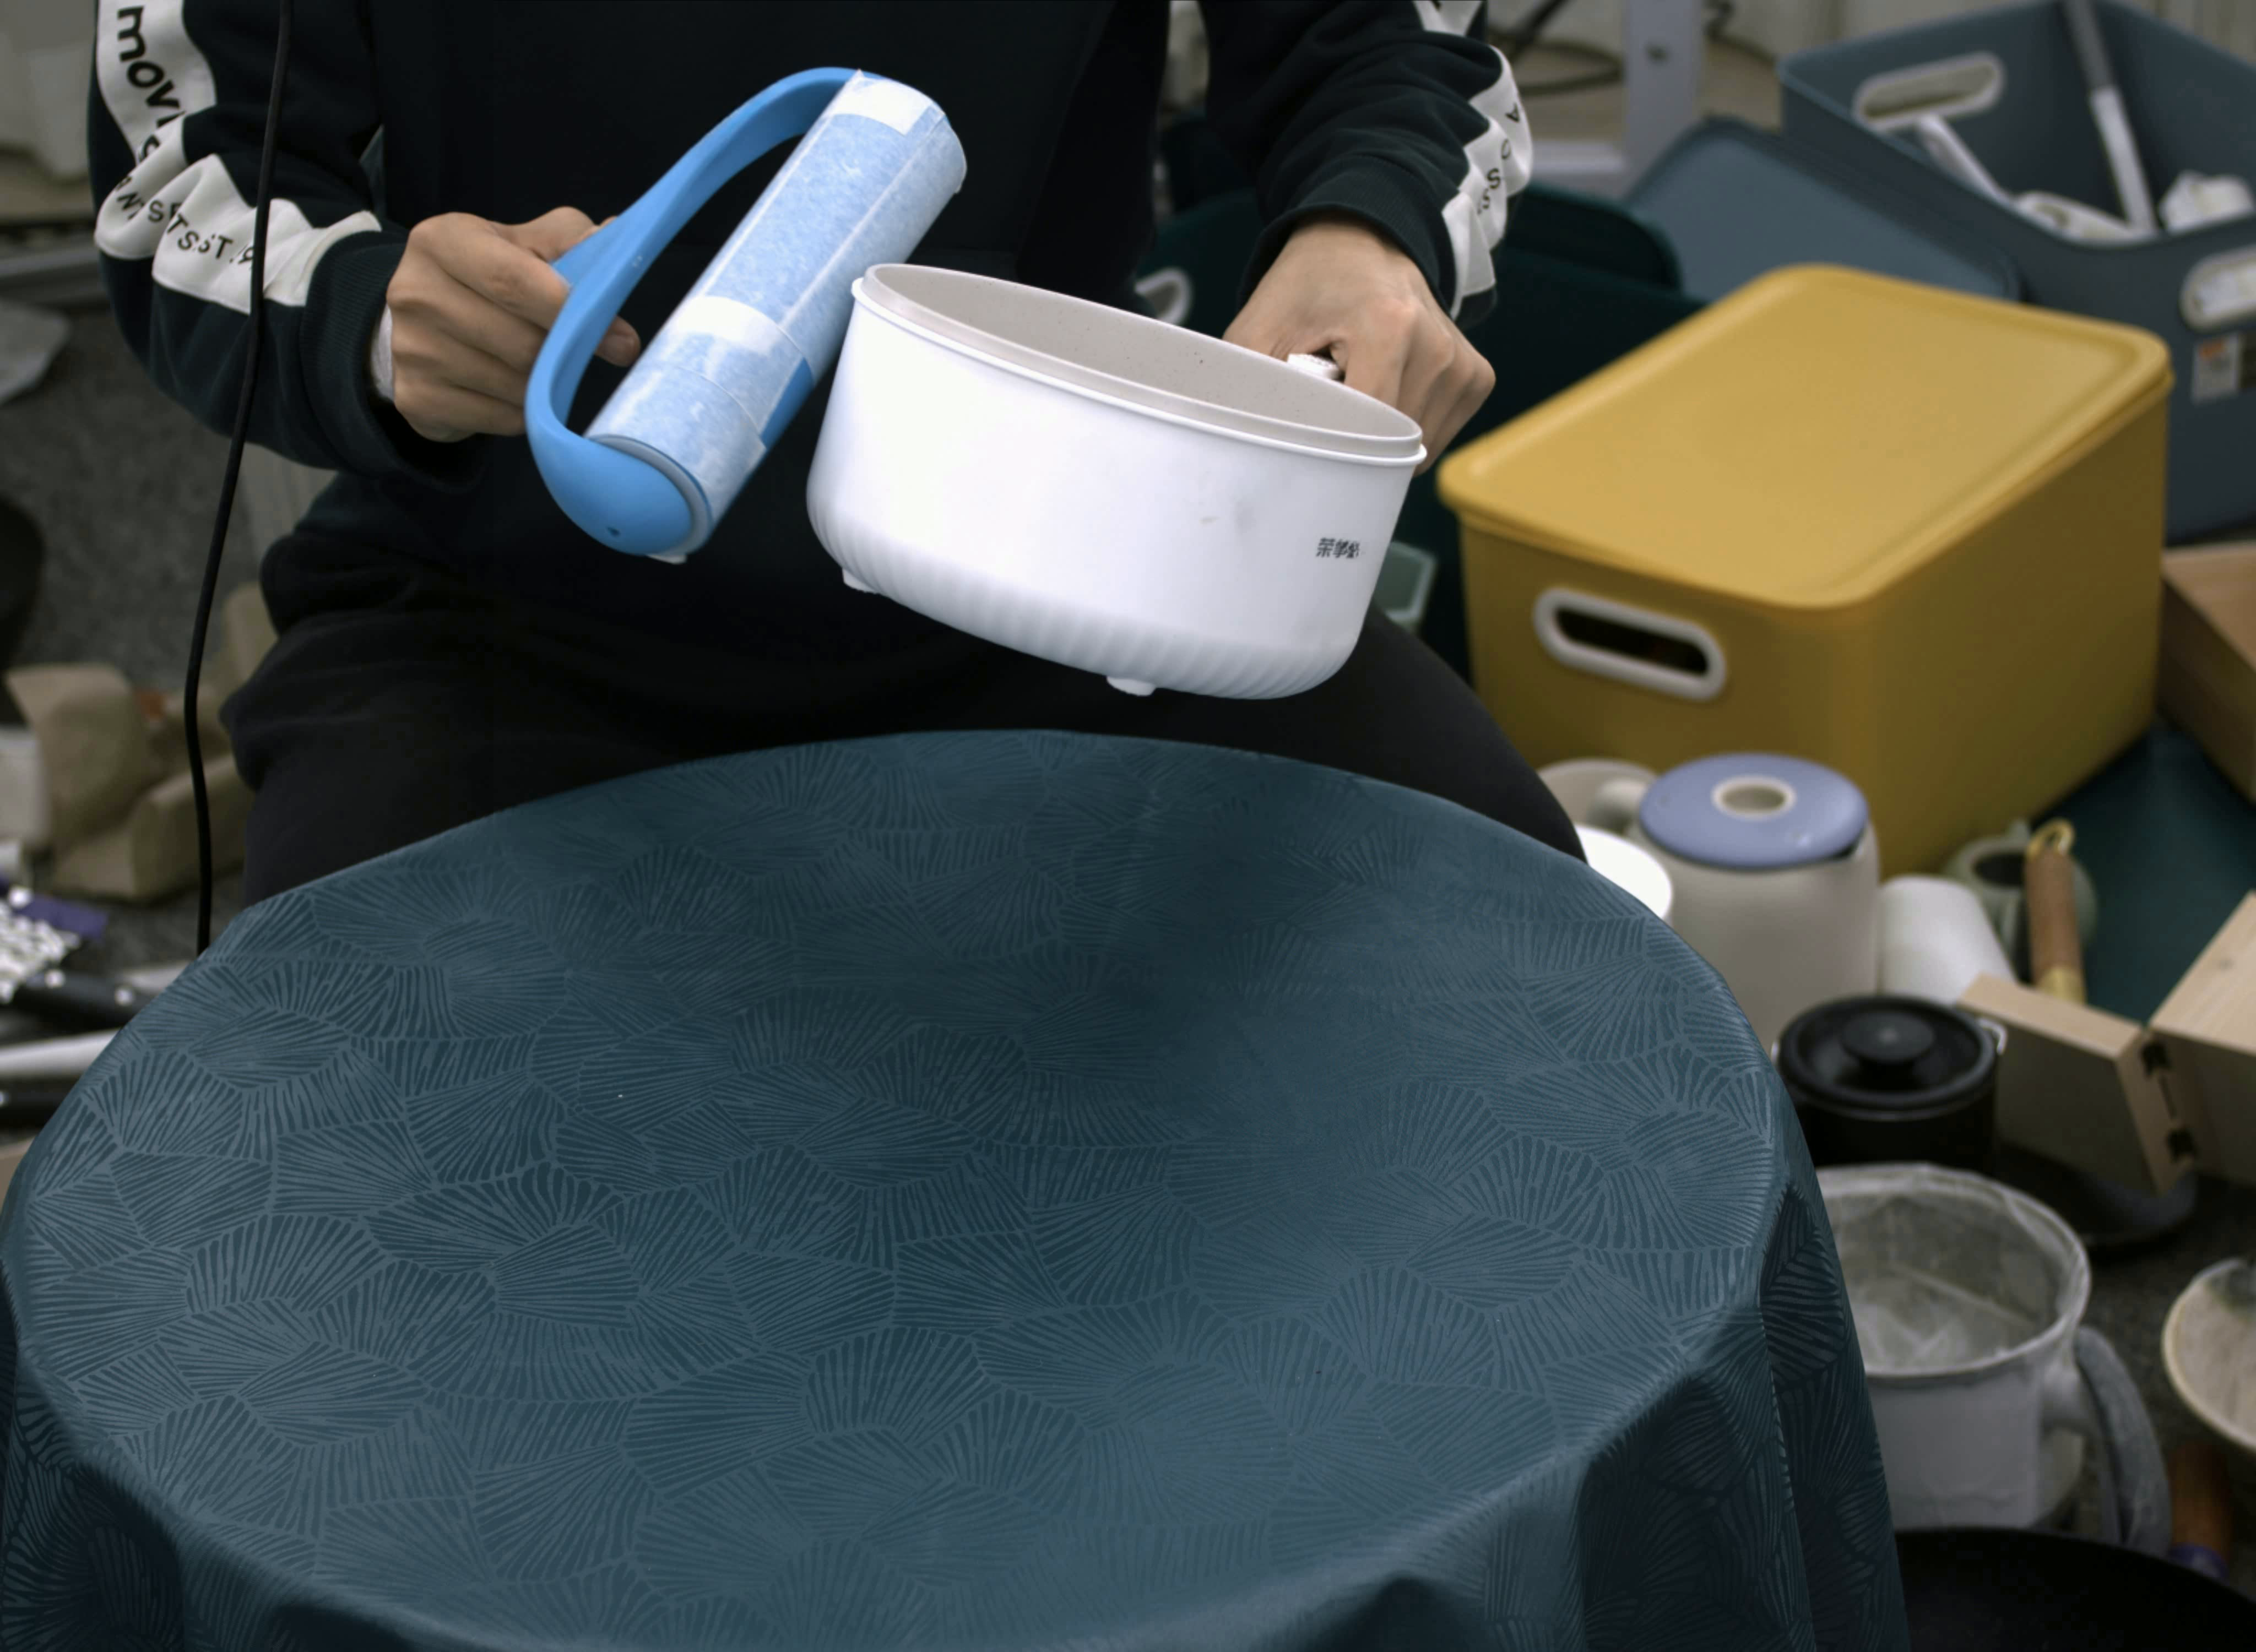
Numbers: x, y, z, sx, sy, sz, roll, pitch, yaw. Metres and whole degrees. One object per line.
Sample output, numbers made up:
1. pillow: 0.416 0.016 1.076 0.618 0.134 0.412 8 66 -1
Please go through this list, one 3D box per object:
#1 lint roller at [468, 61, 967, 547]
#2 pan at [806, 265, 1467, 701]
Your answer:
1. lint roller: -0.169 -0.174 1.940 0.178 0.067 0.233 -3 41 33
2. pan: 0.023 -0.115 1.966 0.200 0.102 0.356 21 11 22
